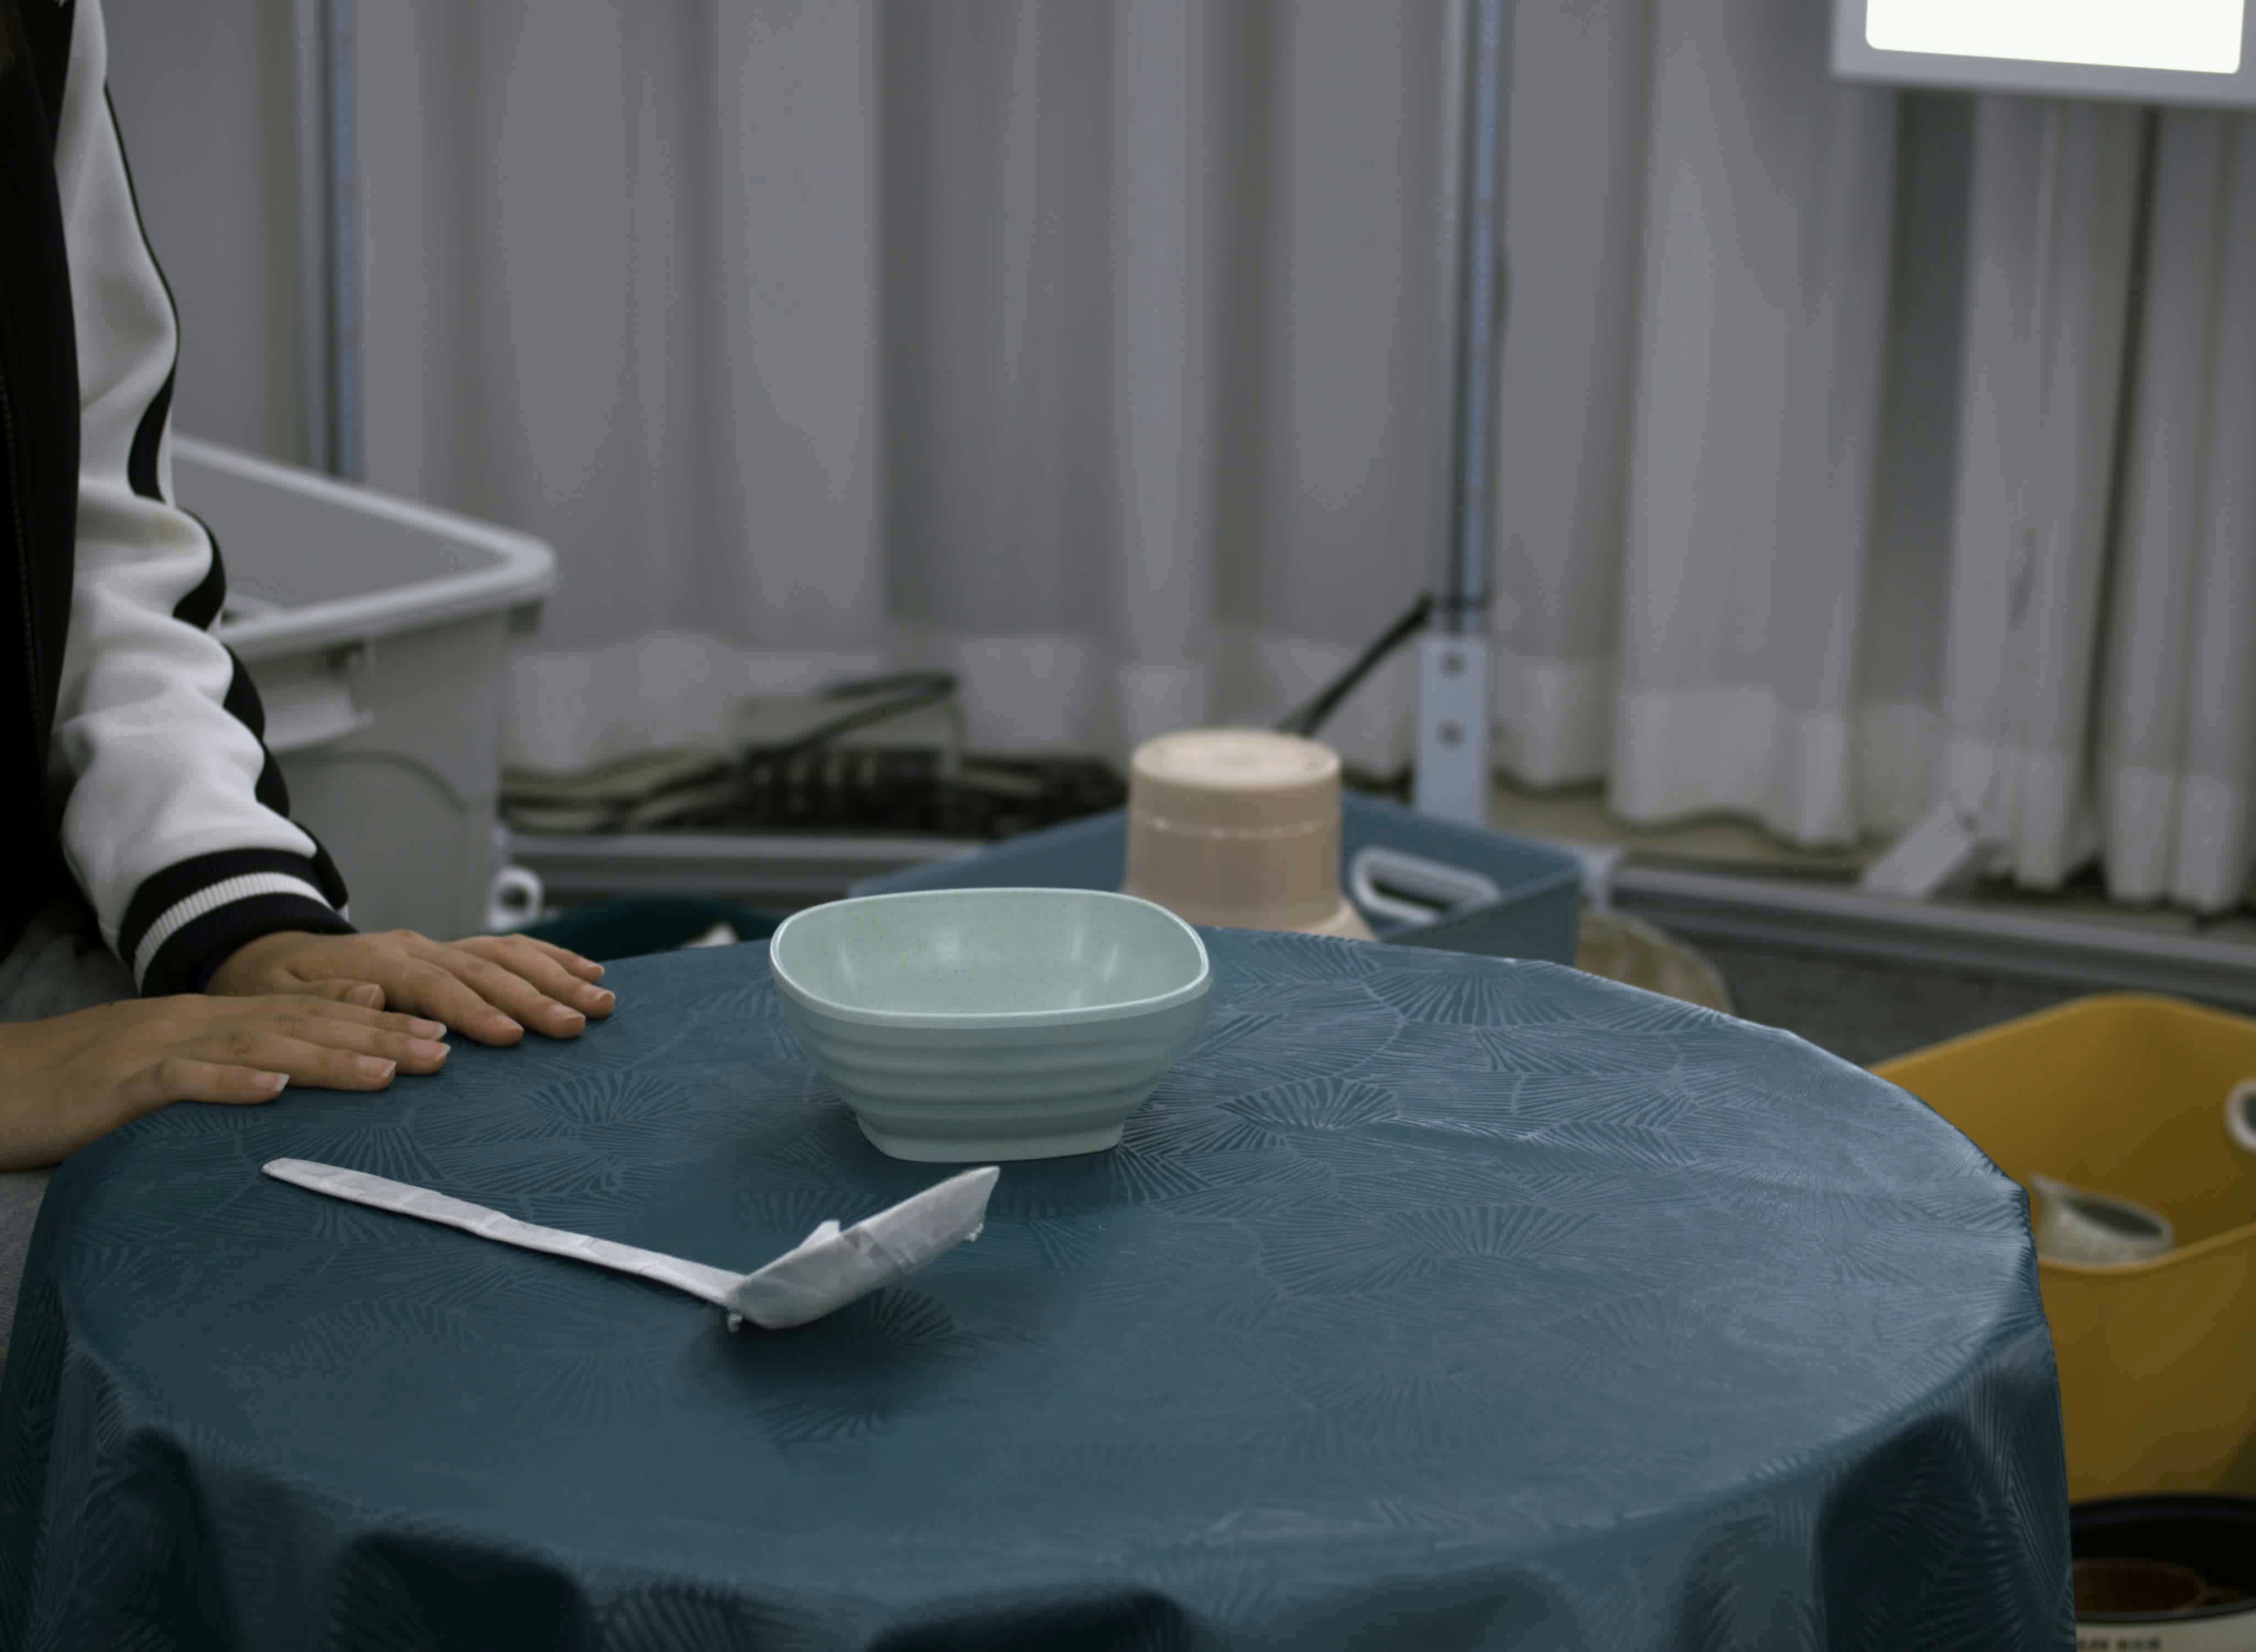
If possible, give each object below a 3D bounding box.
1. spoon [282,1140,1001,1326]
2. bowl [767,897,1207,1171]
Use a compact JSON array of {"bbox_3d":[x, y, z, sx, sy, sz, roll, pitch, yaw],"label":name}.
[{"bbox_3d":[-0.152,0.099,1.556,0.274,0.060,0.101,13,15,38],"label":"spoon"},{"bbox_3d":[-0.045,0.069,1.678,0.151,0.059,0.150,1,15,0],"label":"bowl"}]
